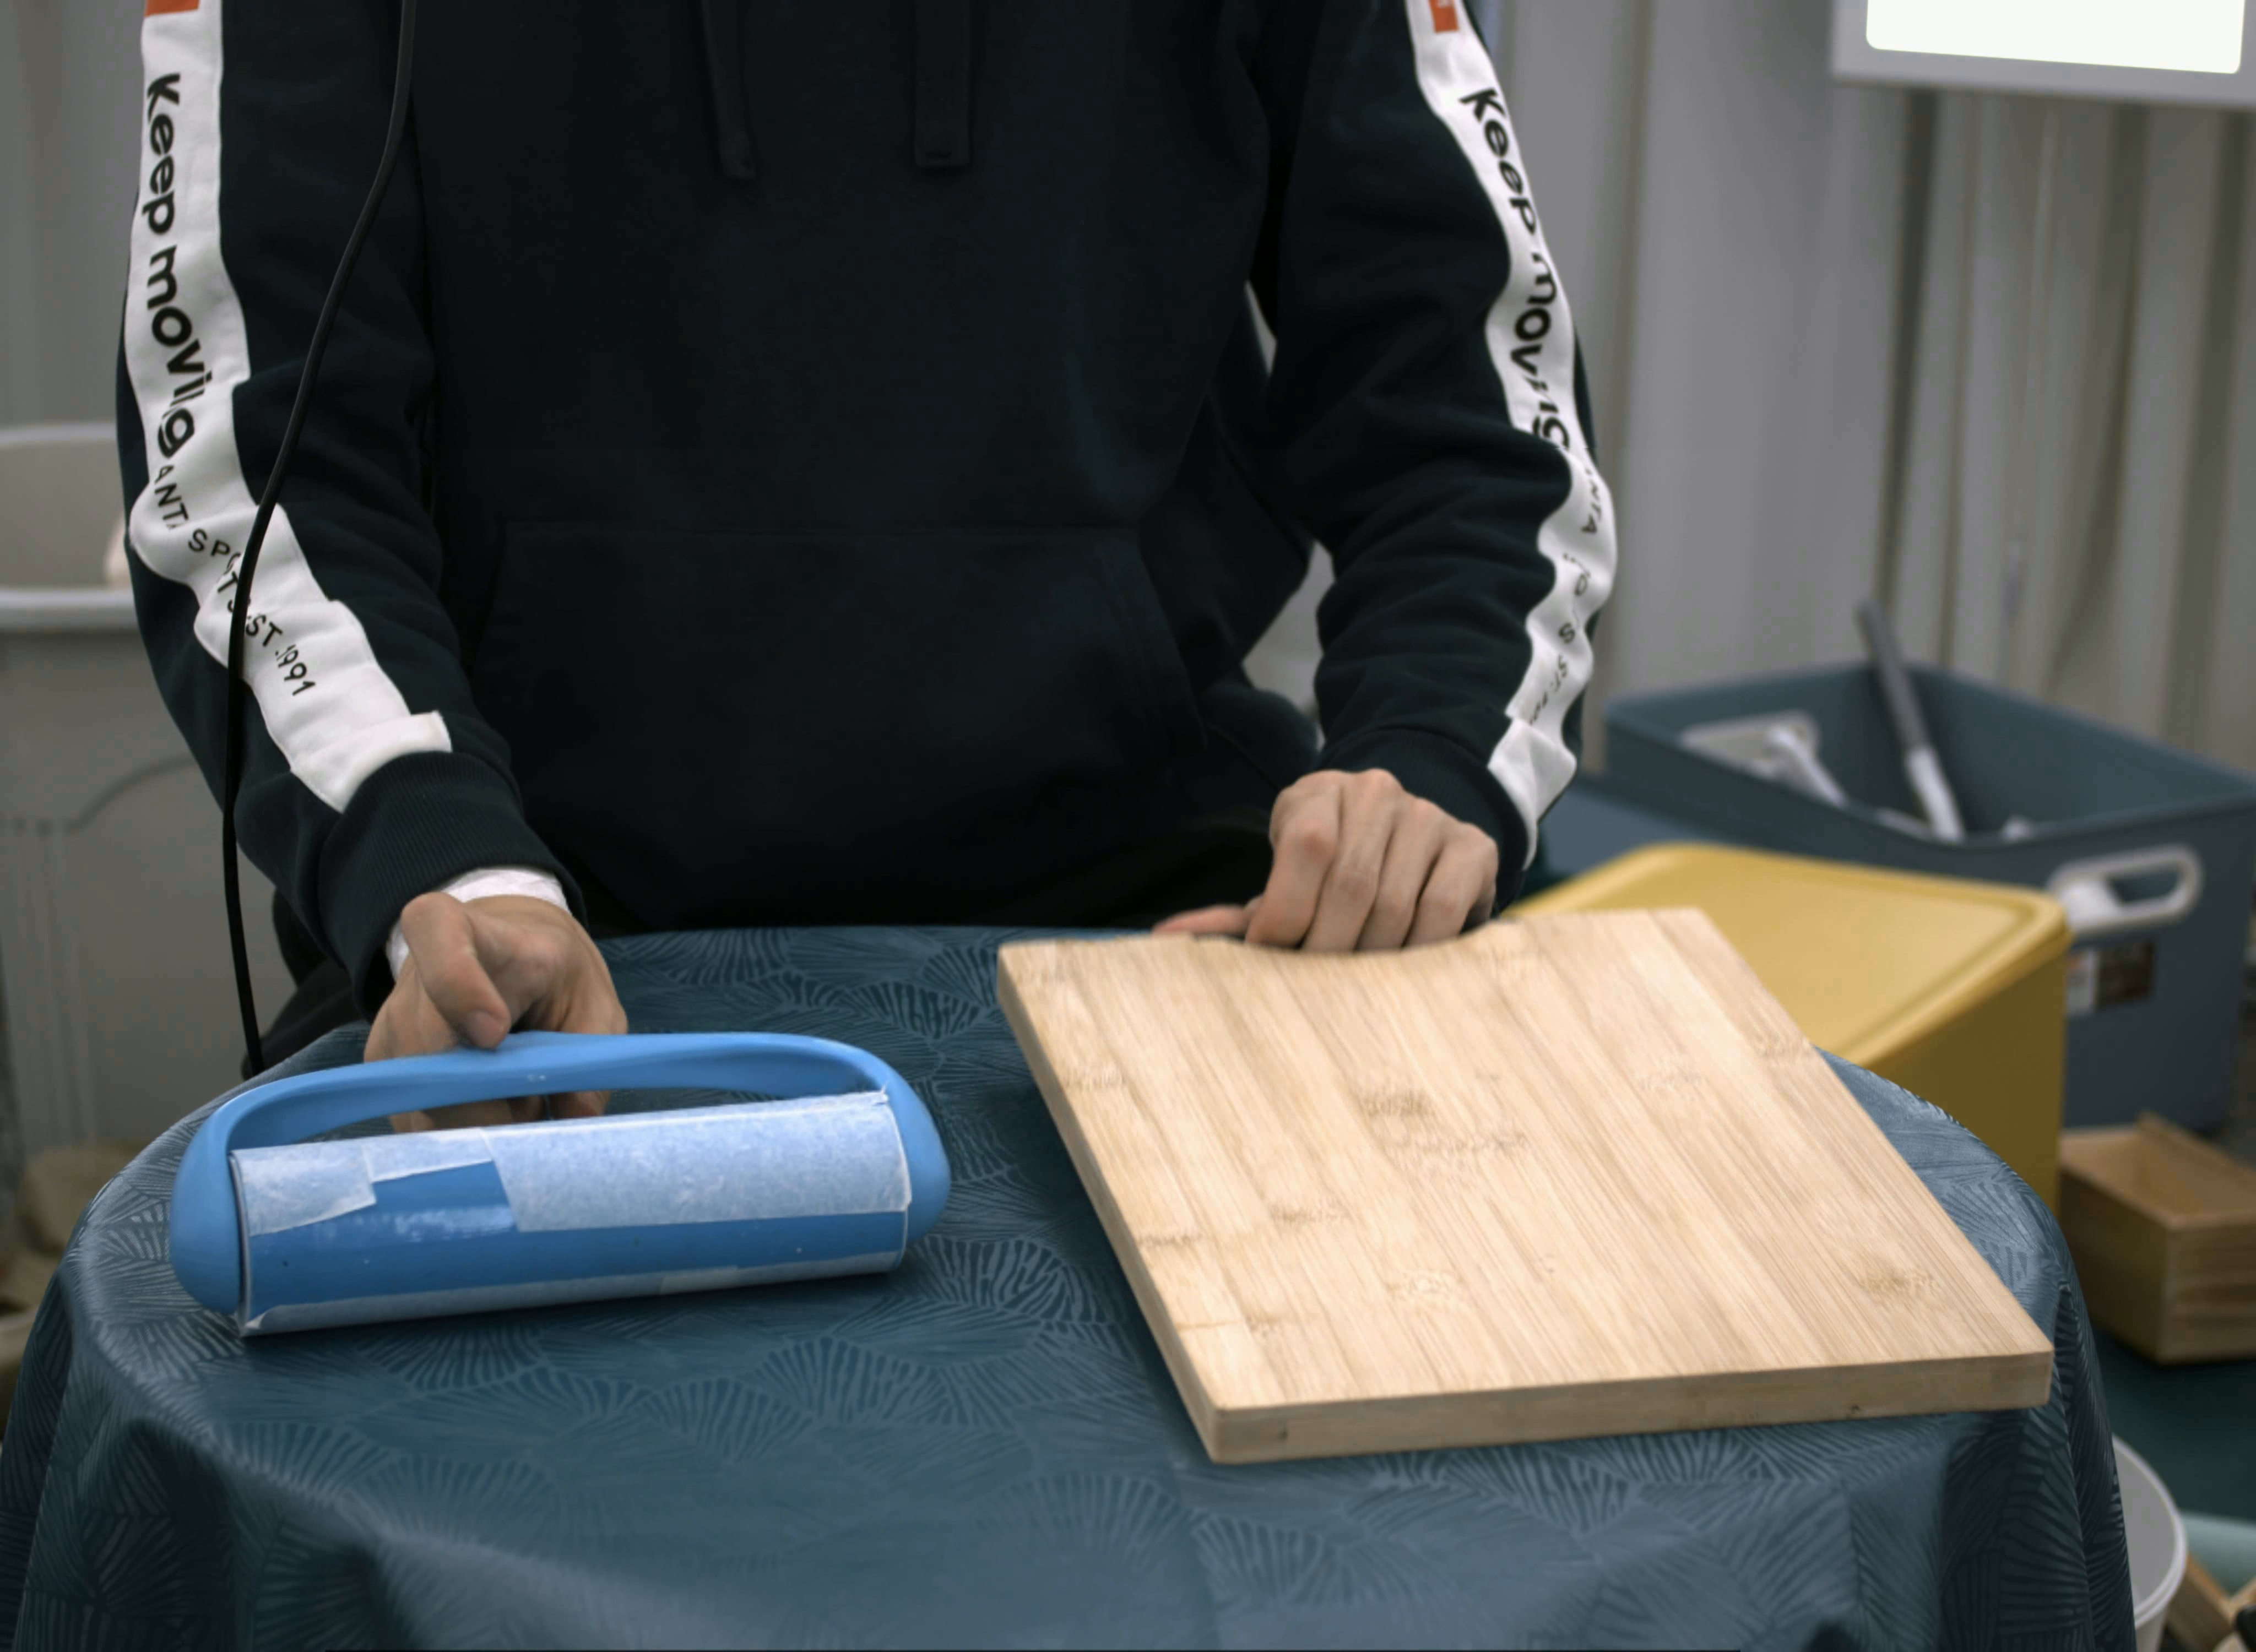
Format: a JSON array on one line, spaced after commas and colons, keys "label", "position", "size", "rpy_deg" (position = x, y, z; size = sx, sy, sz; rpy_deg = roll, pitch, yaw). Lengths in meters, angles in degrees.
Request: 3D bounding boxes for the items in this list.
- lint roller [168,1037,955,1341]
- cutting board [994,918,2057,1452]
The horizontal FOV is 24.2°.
[{"label": "lint roller", "position": [-0.181, 0.095, 1.569], "size": [0.229, 0.068, 0.178], "rpy_deg": [-6, 18, -19]}, {"label": "cutting board", "position": [0.106, 0.101, 1.589], "size": [0.251, 0.024, 0.345], "rpy_deg": [-3, 20, -12]}]
